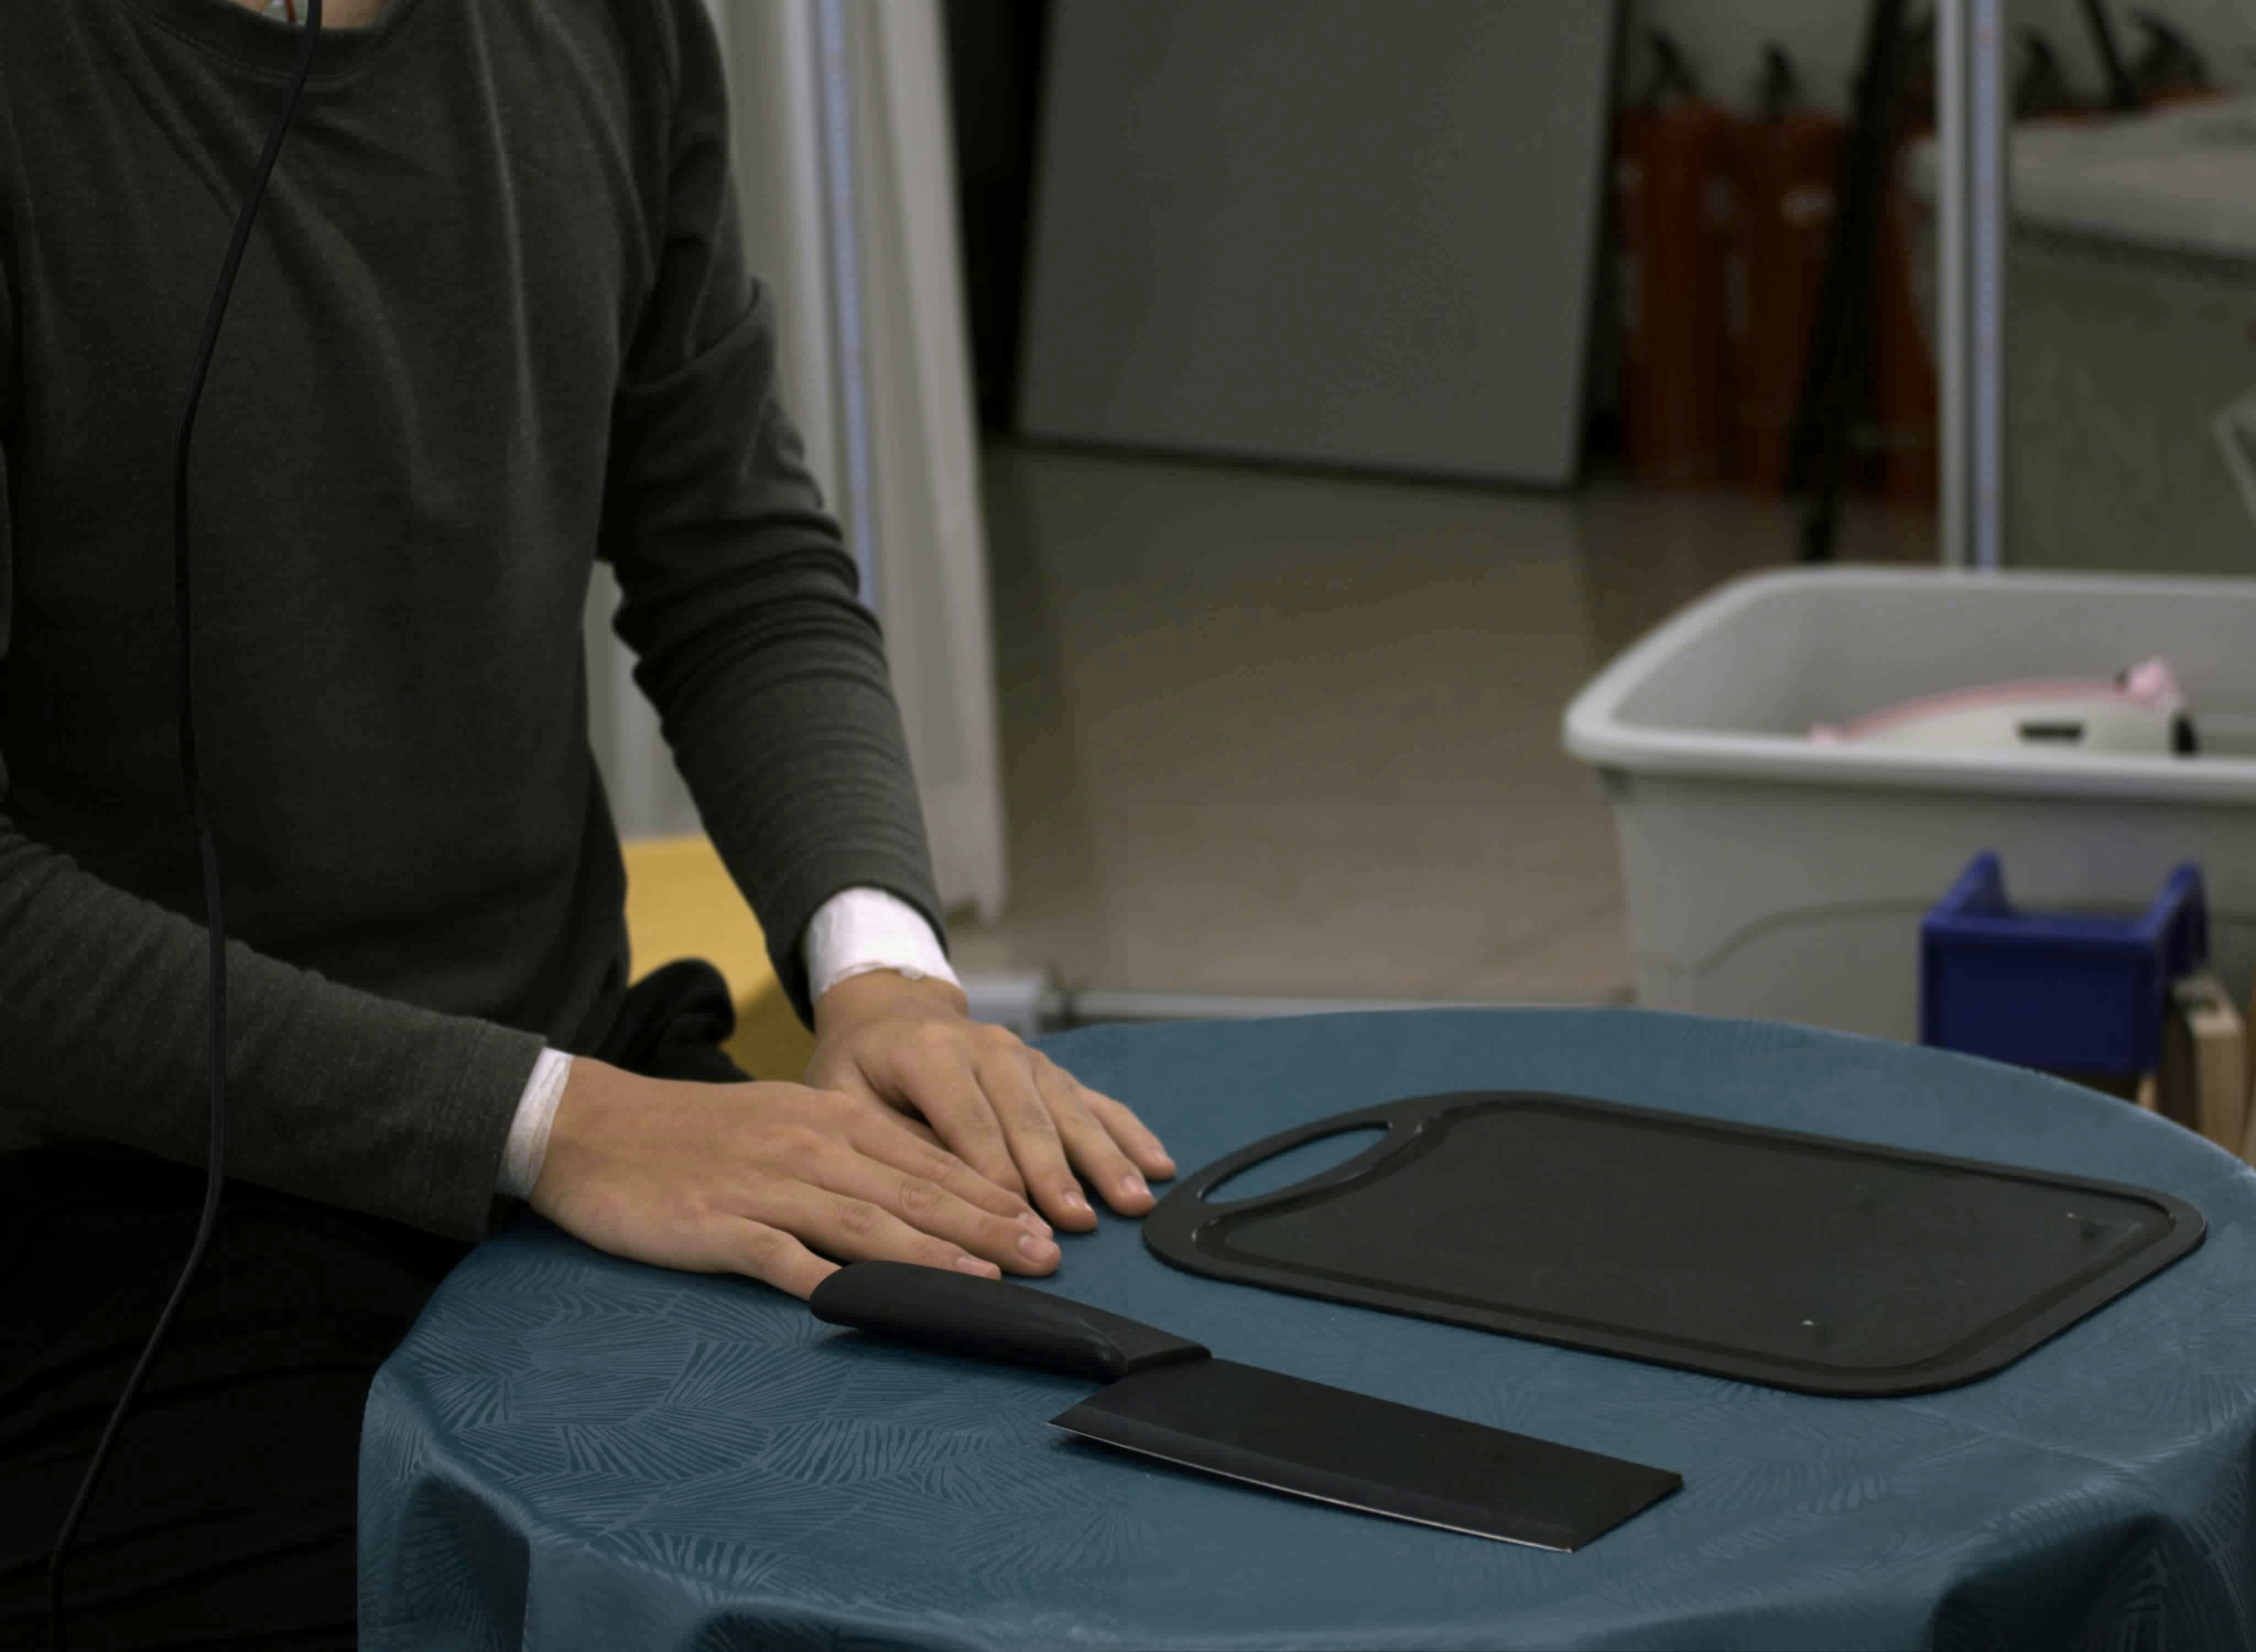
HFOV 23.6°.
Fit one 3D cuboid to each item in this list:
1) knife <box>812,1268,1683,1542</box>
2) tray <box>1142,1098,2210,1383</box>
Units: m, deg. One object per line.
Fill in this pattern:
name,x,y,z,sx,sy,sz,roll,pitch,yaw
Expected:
knife,0.022,0.166,1.554,0.305,0.021,0.079,11,21,42
tray,0.162,0.125,1.697,0.328,0.010,0.207,7,17,39
